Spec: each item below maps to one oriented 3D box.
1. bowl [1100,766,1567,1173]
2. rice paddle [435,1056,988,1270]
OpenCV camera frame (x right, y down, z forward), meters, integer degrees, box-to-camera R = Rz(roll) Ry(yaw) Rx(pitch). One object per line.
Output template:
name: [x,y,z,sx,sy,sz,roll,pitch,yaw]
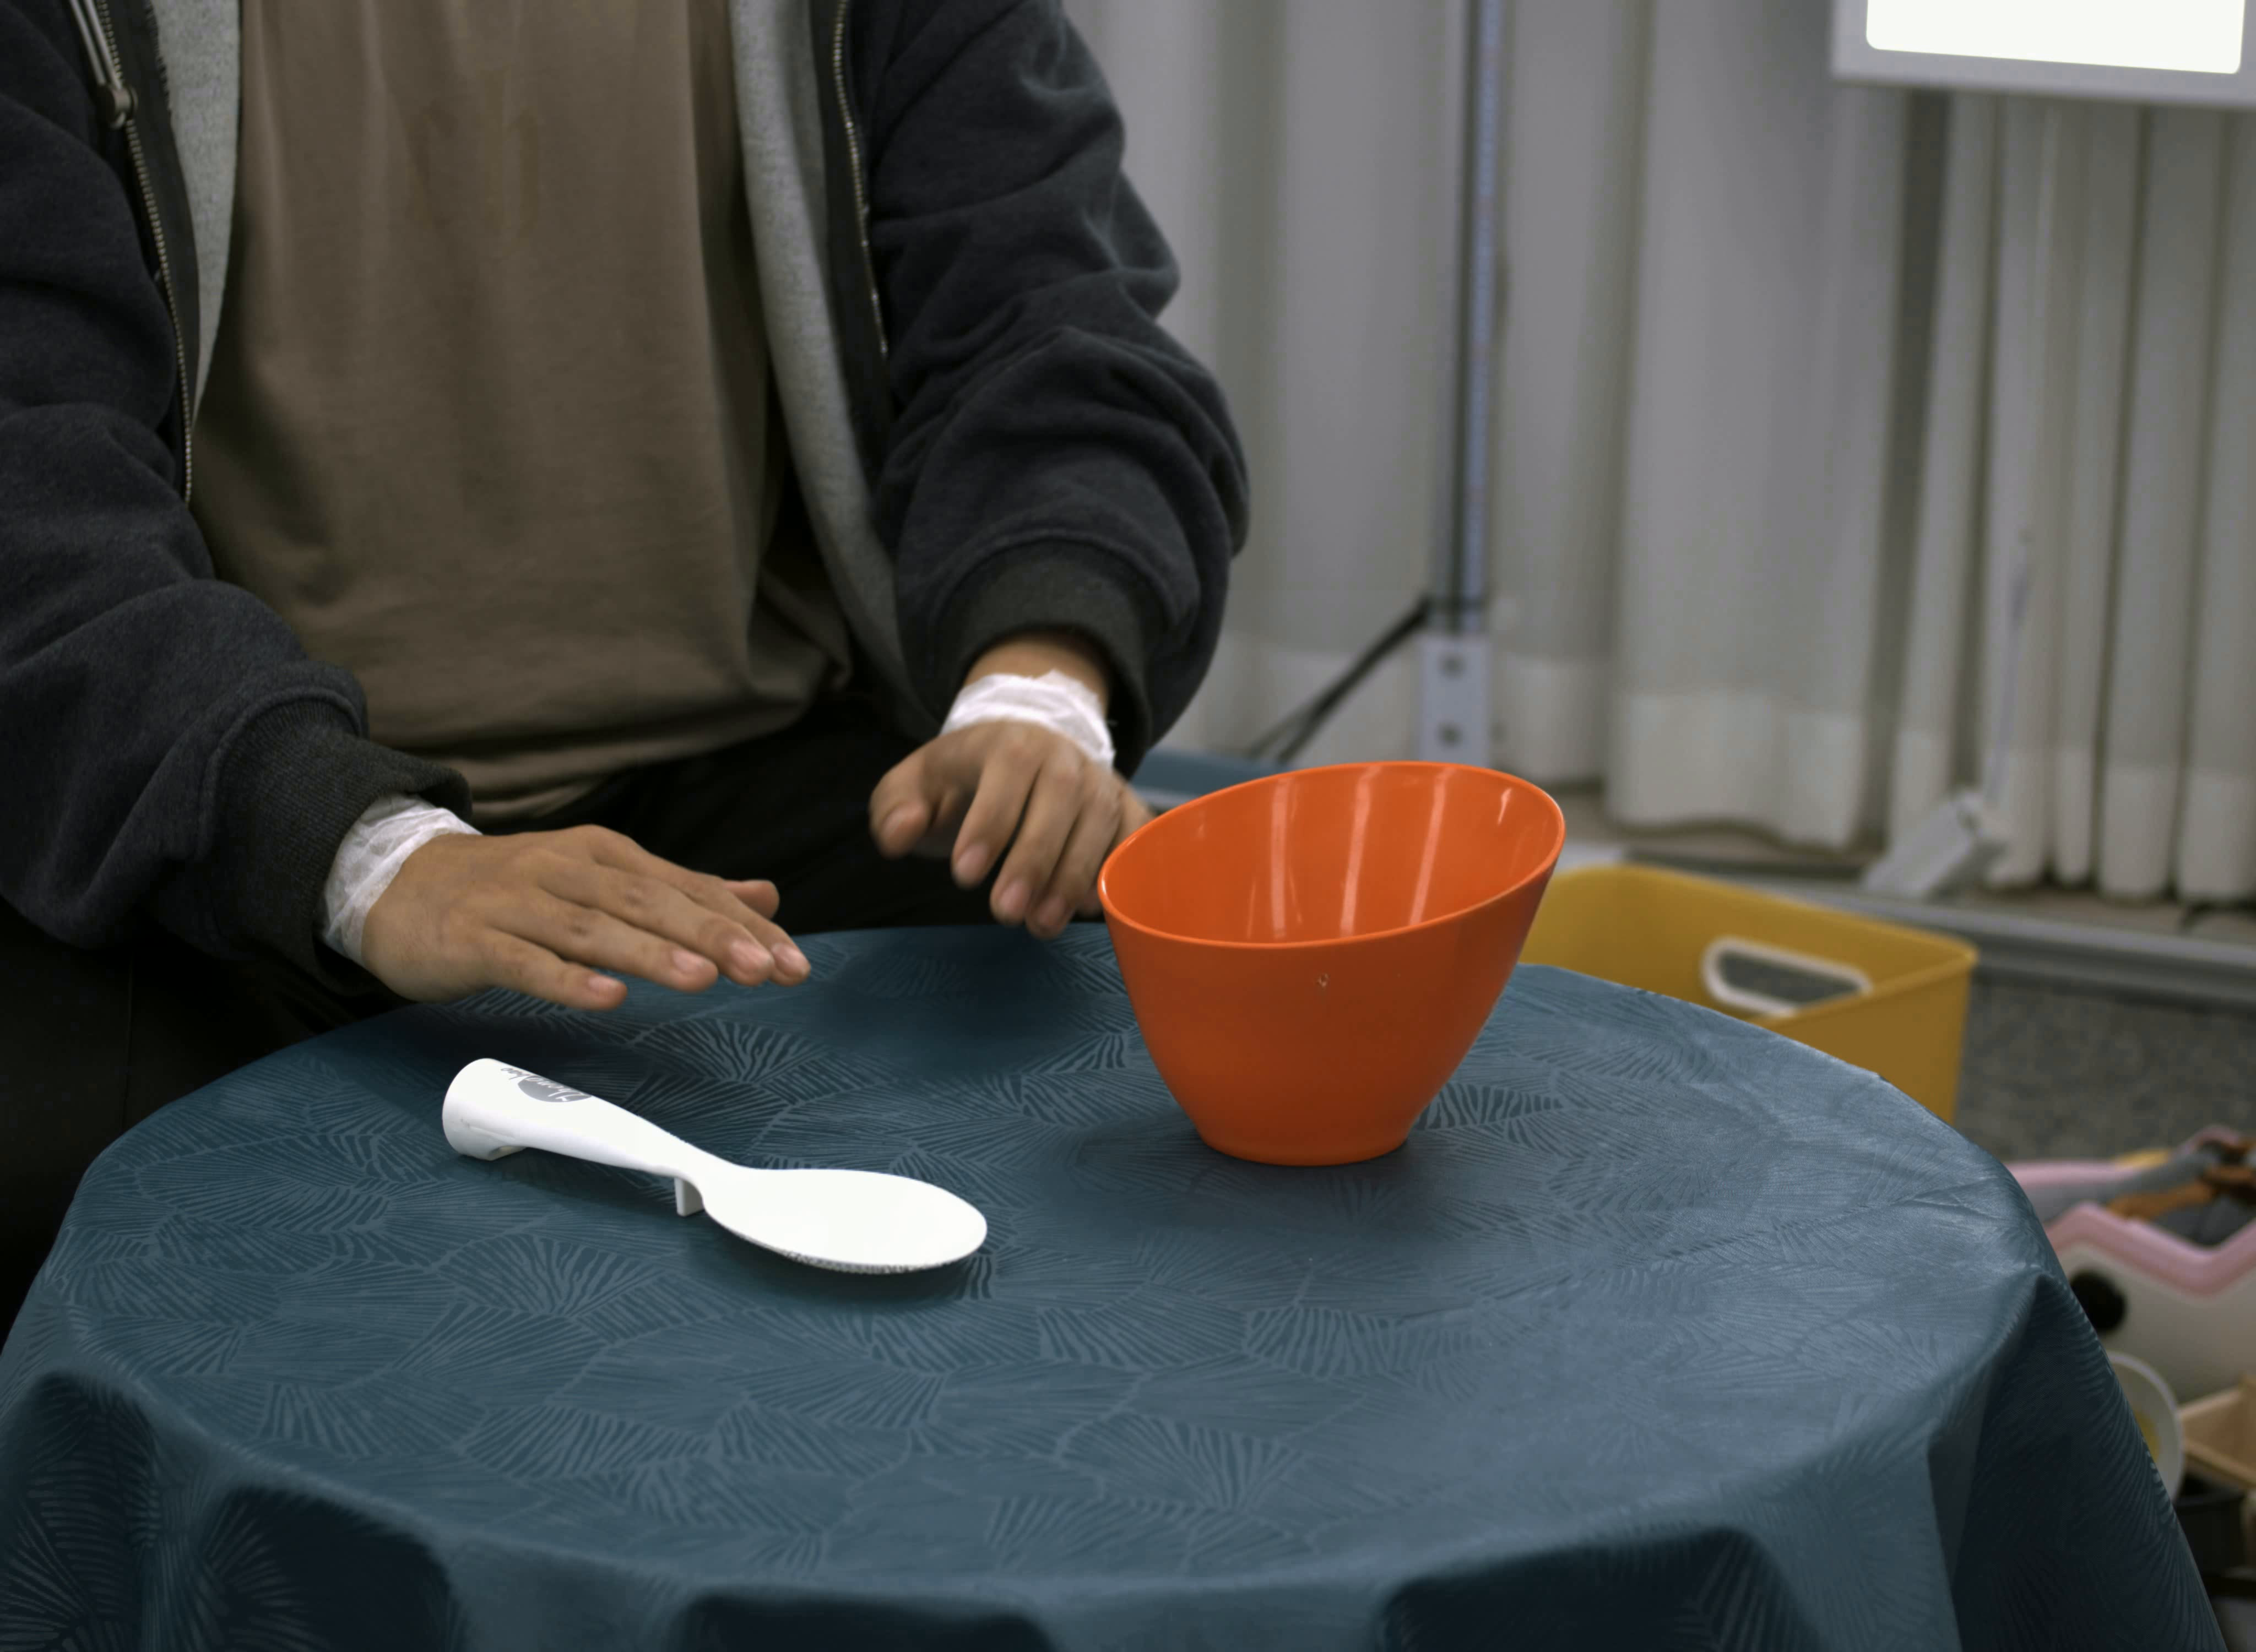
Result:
bowl: [0.065,0.048,1.667,0.147,0.105,0.147,0,17,1]
rice paddle: [-0.127,0.104,1.593,0.202,0.029,0.069,13,21,36]
